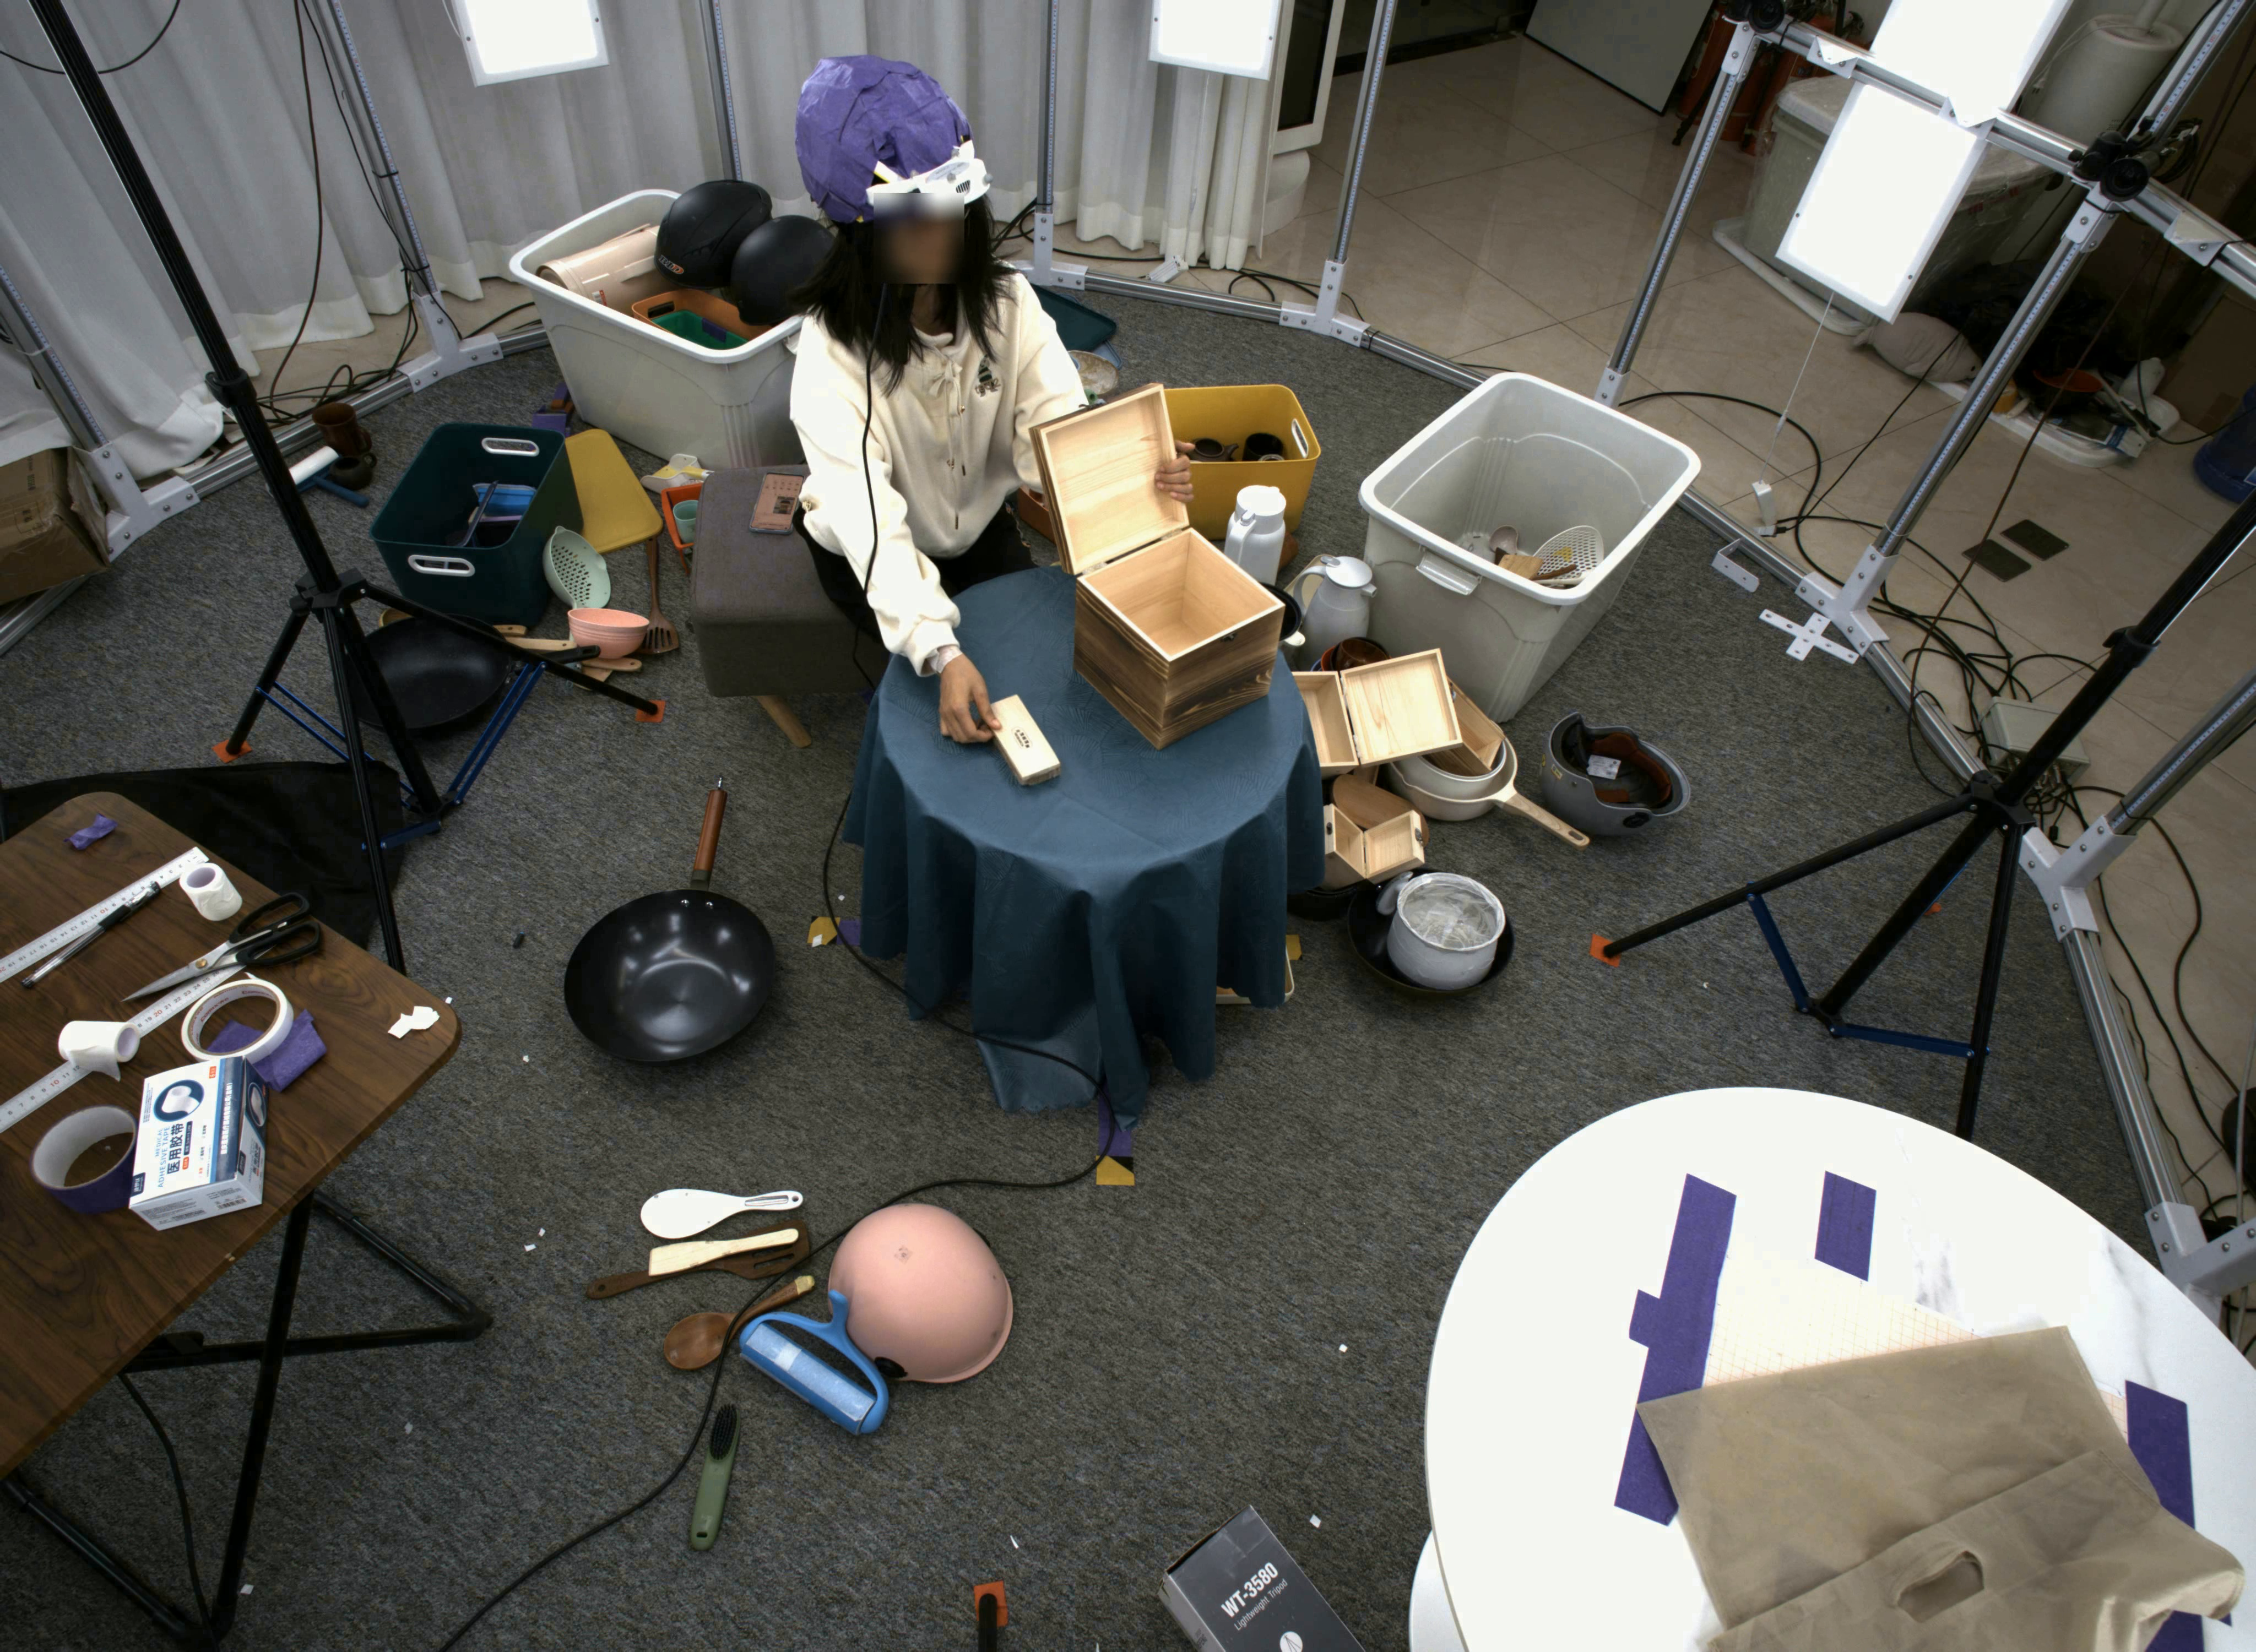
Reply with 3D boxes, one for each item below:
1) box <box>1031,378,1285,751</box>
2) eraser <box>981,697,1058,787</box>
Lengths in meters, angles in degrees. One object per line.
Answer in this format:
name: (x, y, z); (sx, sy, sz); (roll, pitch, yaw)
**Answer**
box: (0.038, -0.355, 1.747); (0.210, 0.366, 0.328); (-29, 57, -25)
eraser: (-0.147, -0.113, 1.739); (0.057, 0.028, 0.142); (-20, 53, -16)
